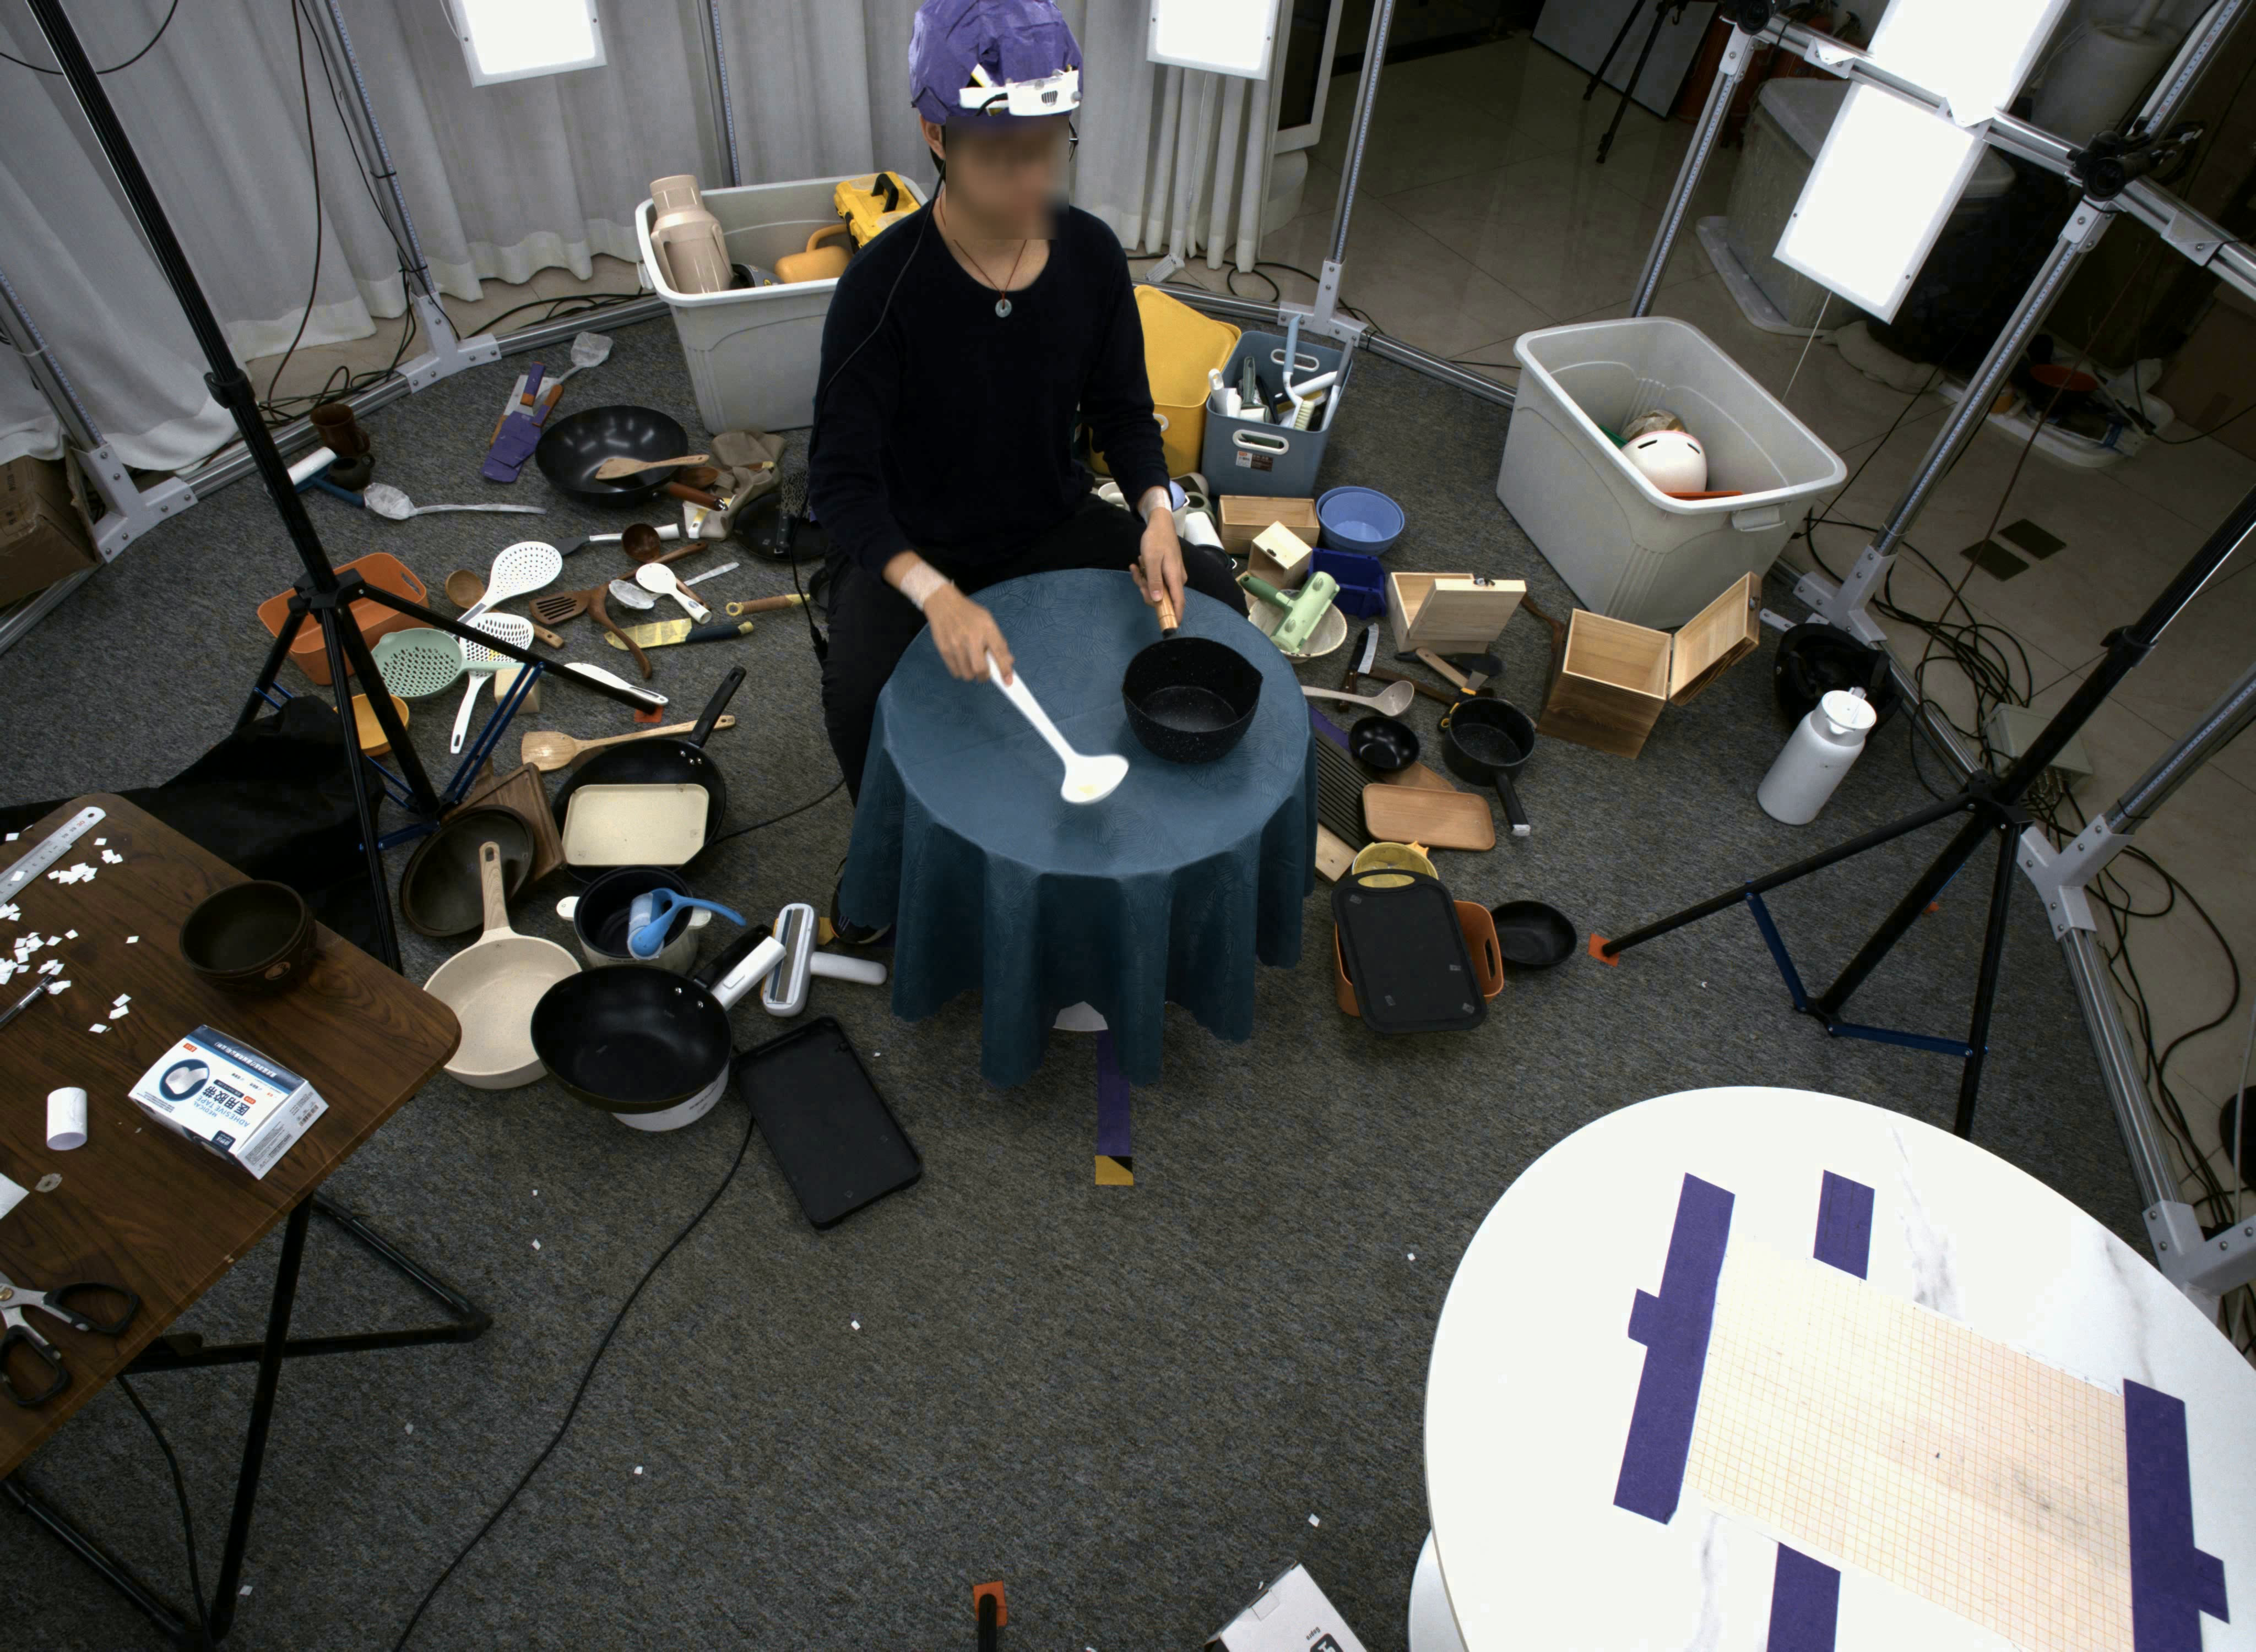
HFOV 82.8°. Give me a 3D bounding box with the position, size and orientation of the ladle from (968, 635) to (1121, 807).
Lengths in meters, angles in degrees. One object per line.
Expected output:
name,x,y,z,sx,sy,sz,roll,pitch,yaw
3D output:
ladle,-0.116,-0.142,1.665,0.090,0.069,0.297,-37,73,-5

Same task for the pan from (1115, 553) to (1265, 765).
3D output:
pan,0.066,-0.236,1.808,0.207,0.105,0.351,-9,52,-10
